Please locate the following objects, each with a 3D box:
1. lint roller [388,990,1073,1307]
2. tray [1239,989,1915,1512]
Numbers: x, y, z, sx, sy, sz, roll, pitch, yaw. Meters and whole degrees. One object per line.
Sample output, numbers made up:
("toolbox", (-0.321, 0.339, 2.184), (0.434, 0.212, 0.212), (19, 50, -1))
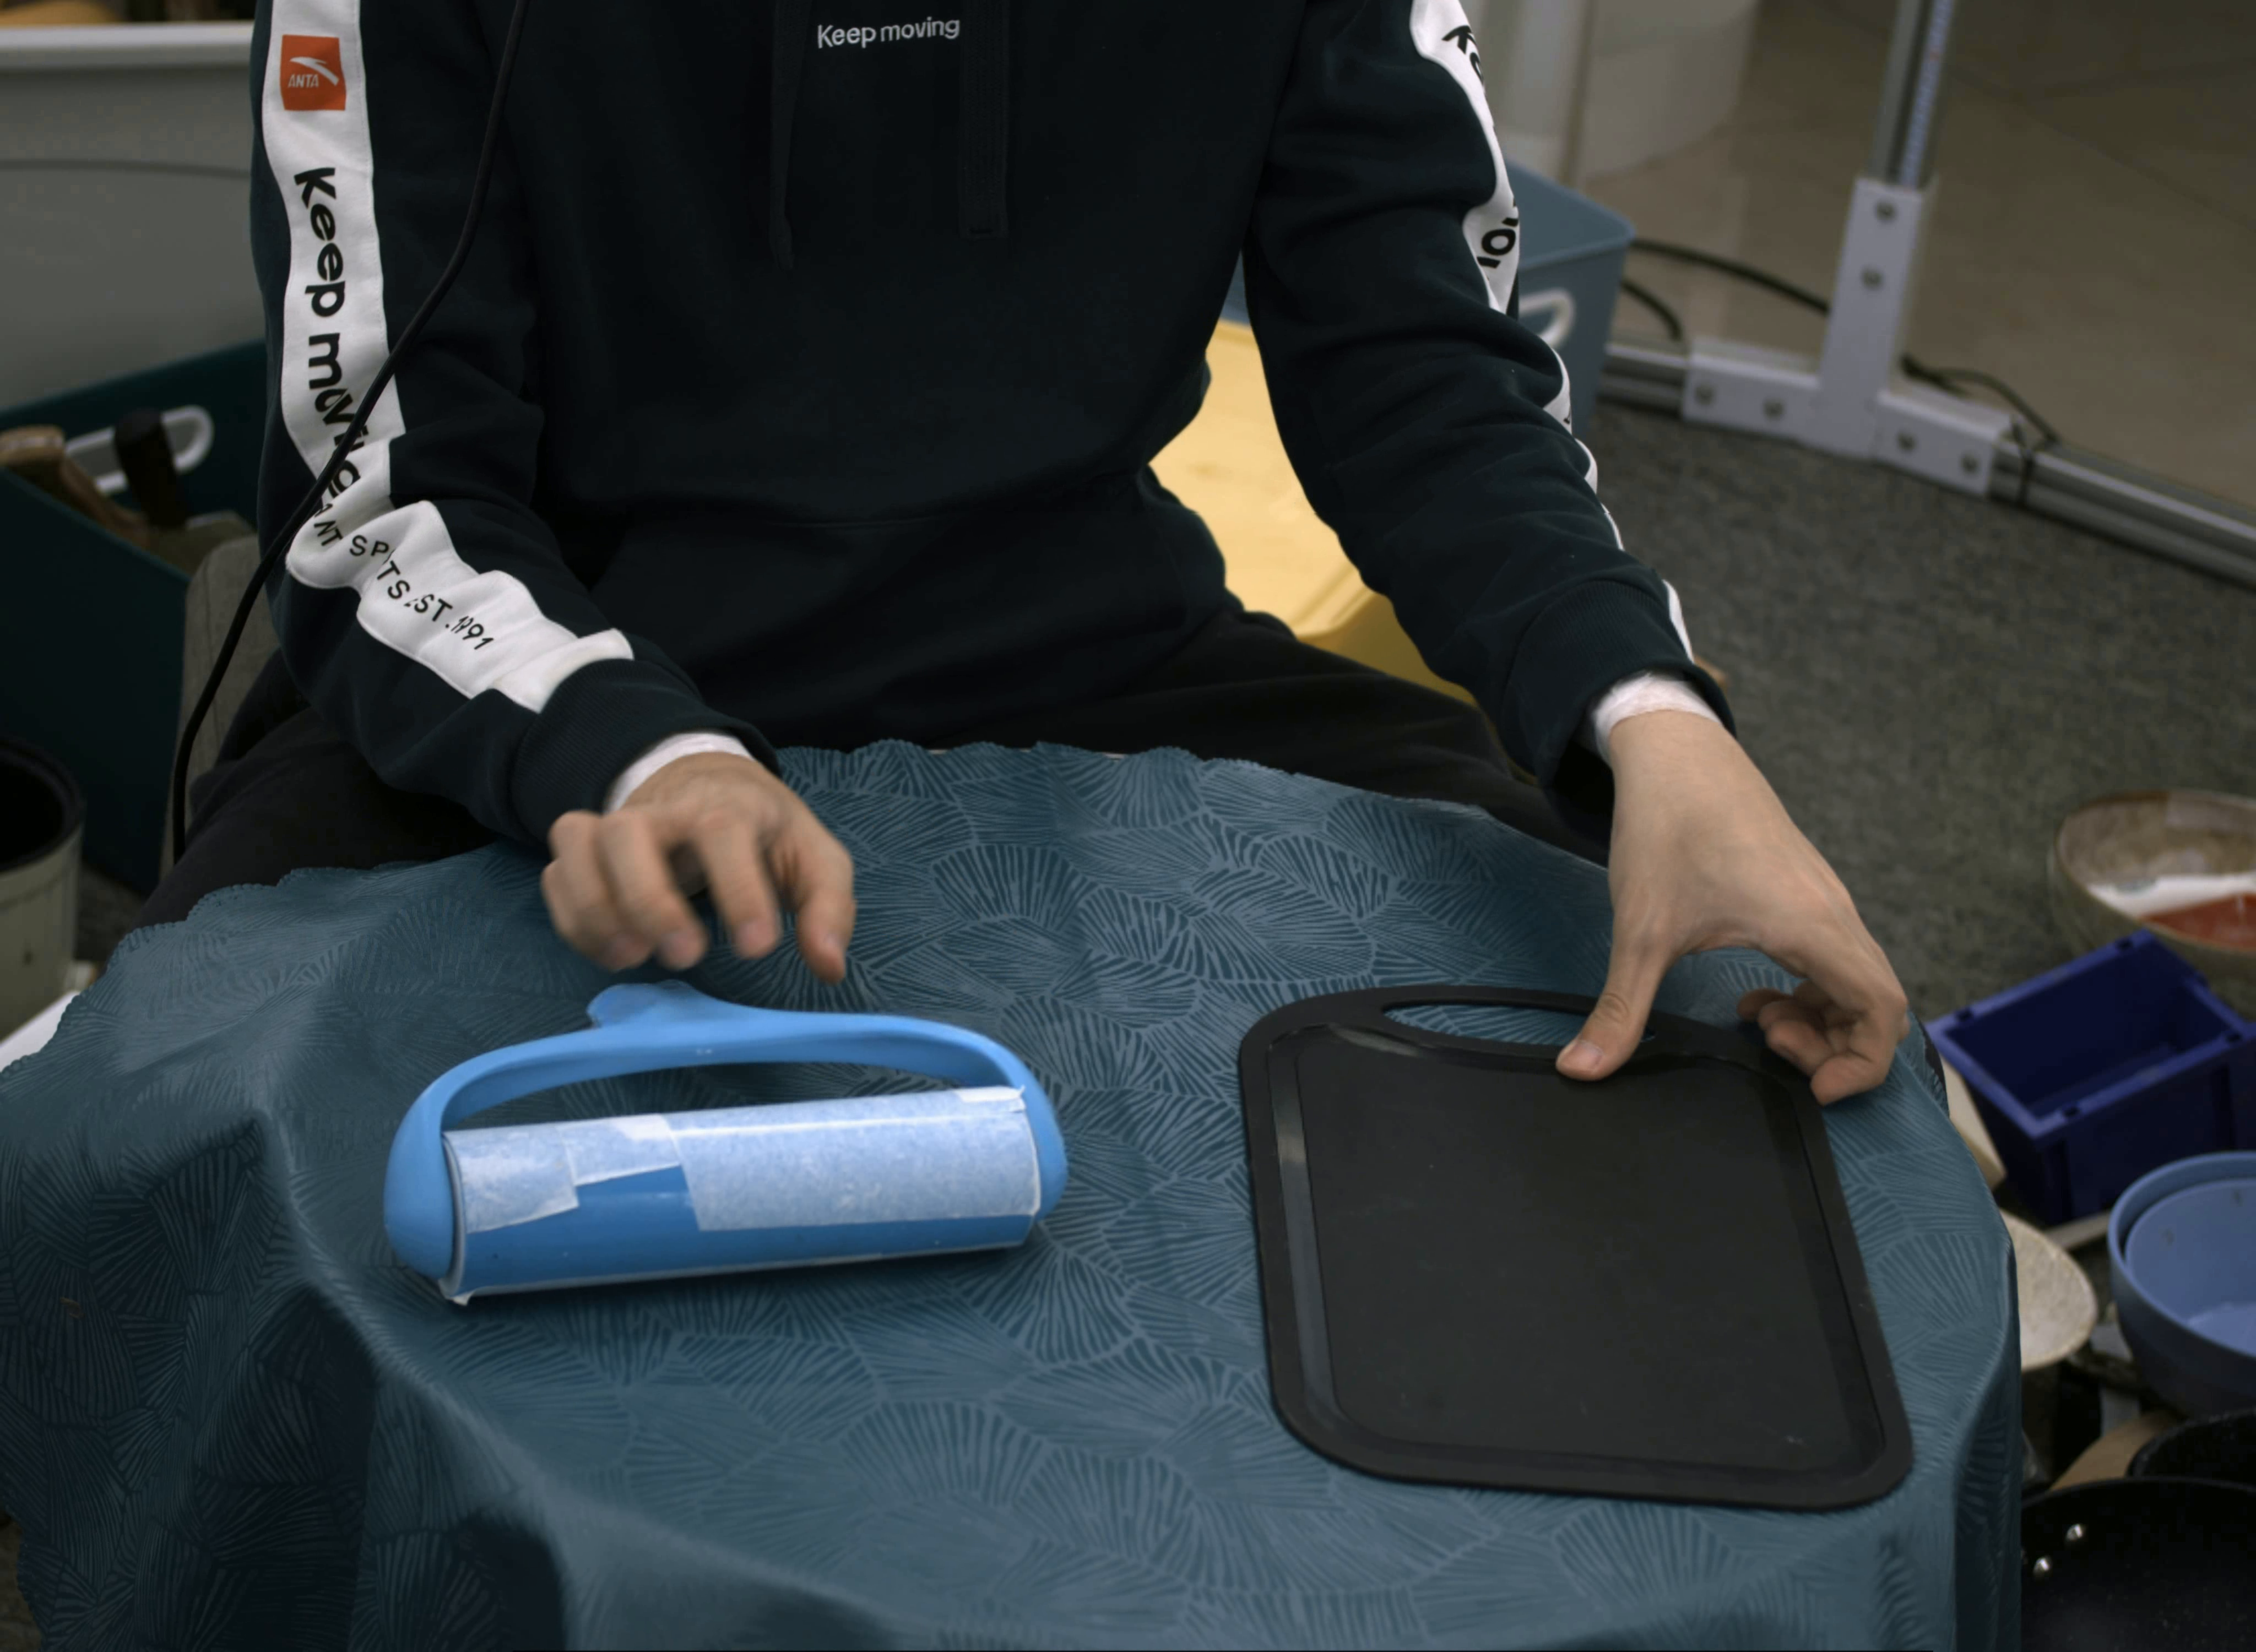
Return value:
("lint roller", (-0.148, 0.090, 1.769), (0.227, 0.067, 0.182), (-7, 31, -21))
("tray", (0.145, 0.134, 1.803), (0.210, 0.010, 0.327), (5, 27, -4))
